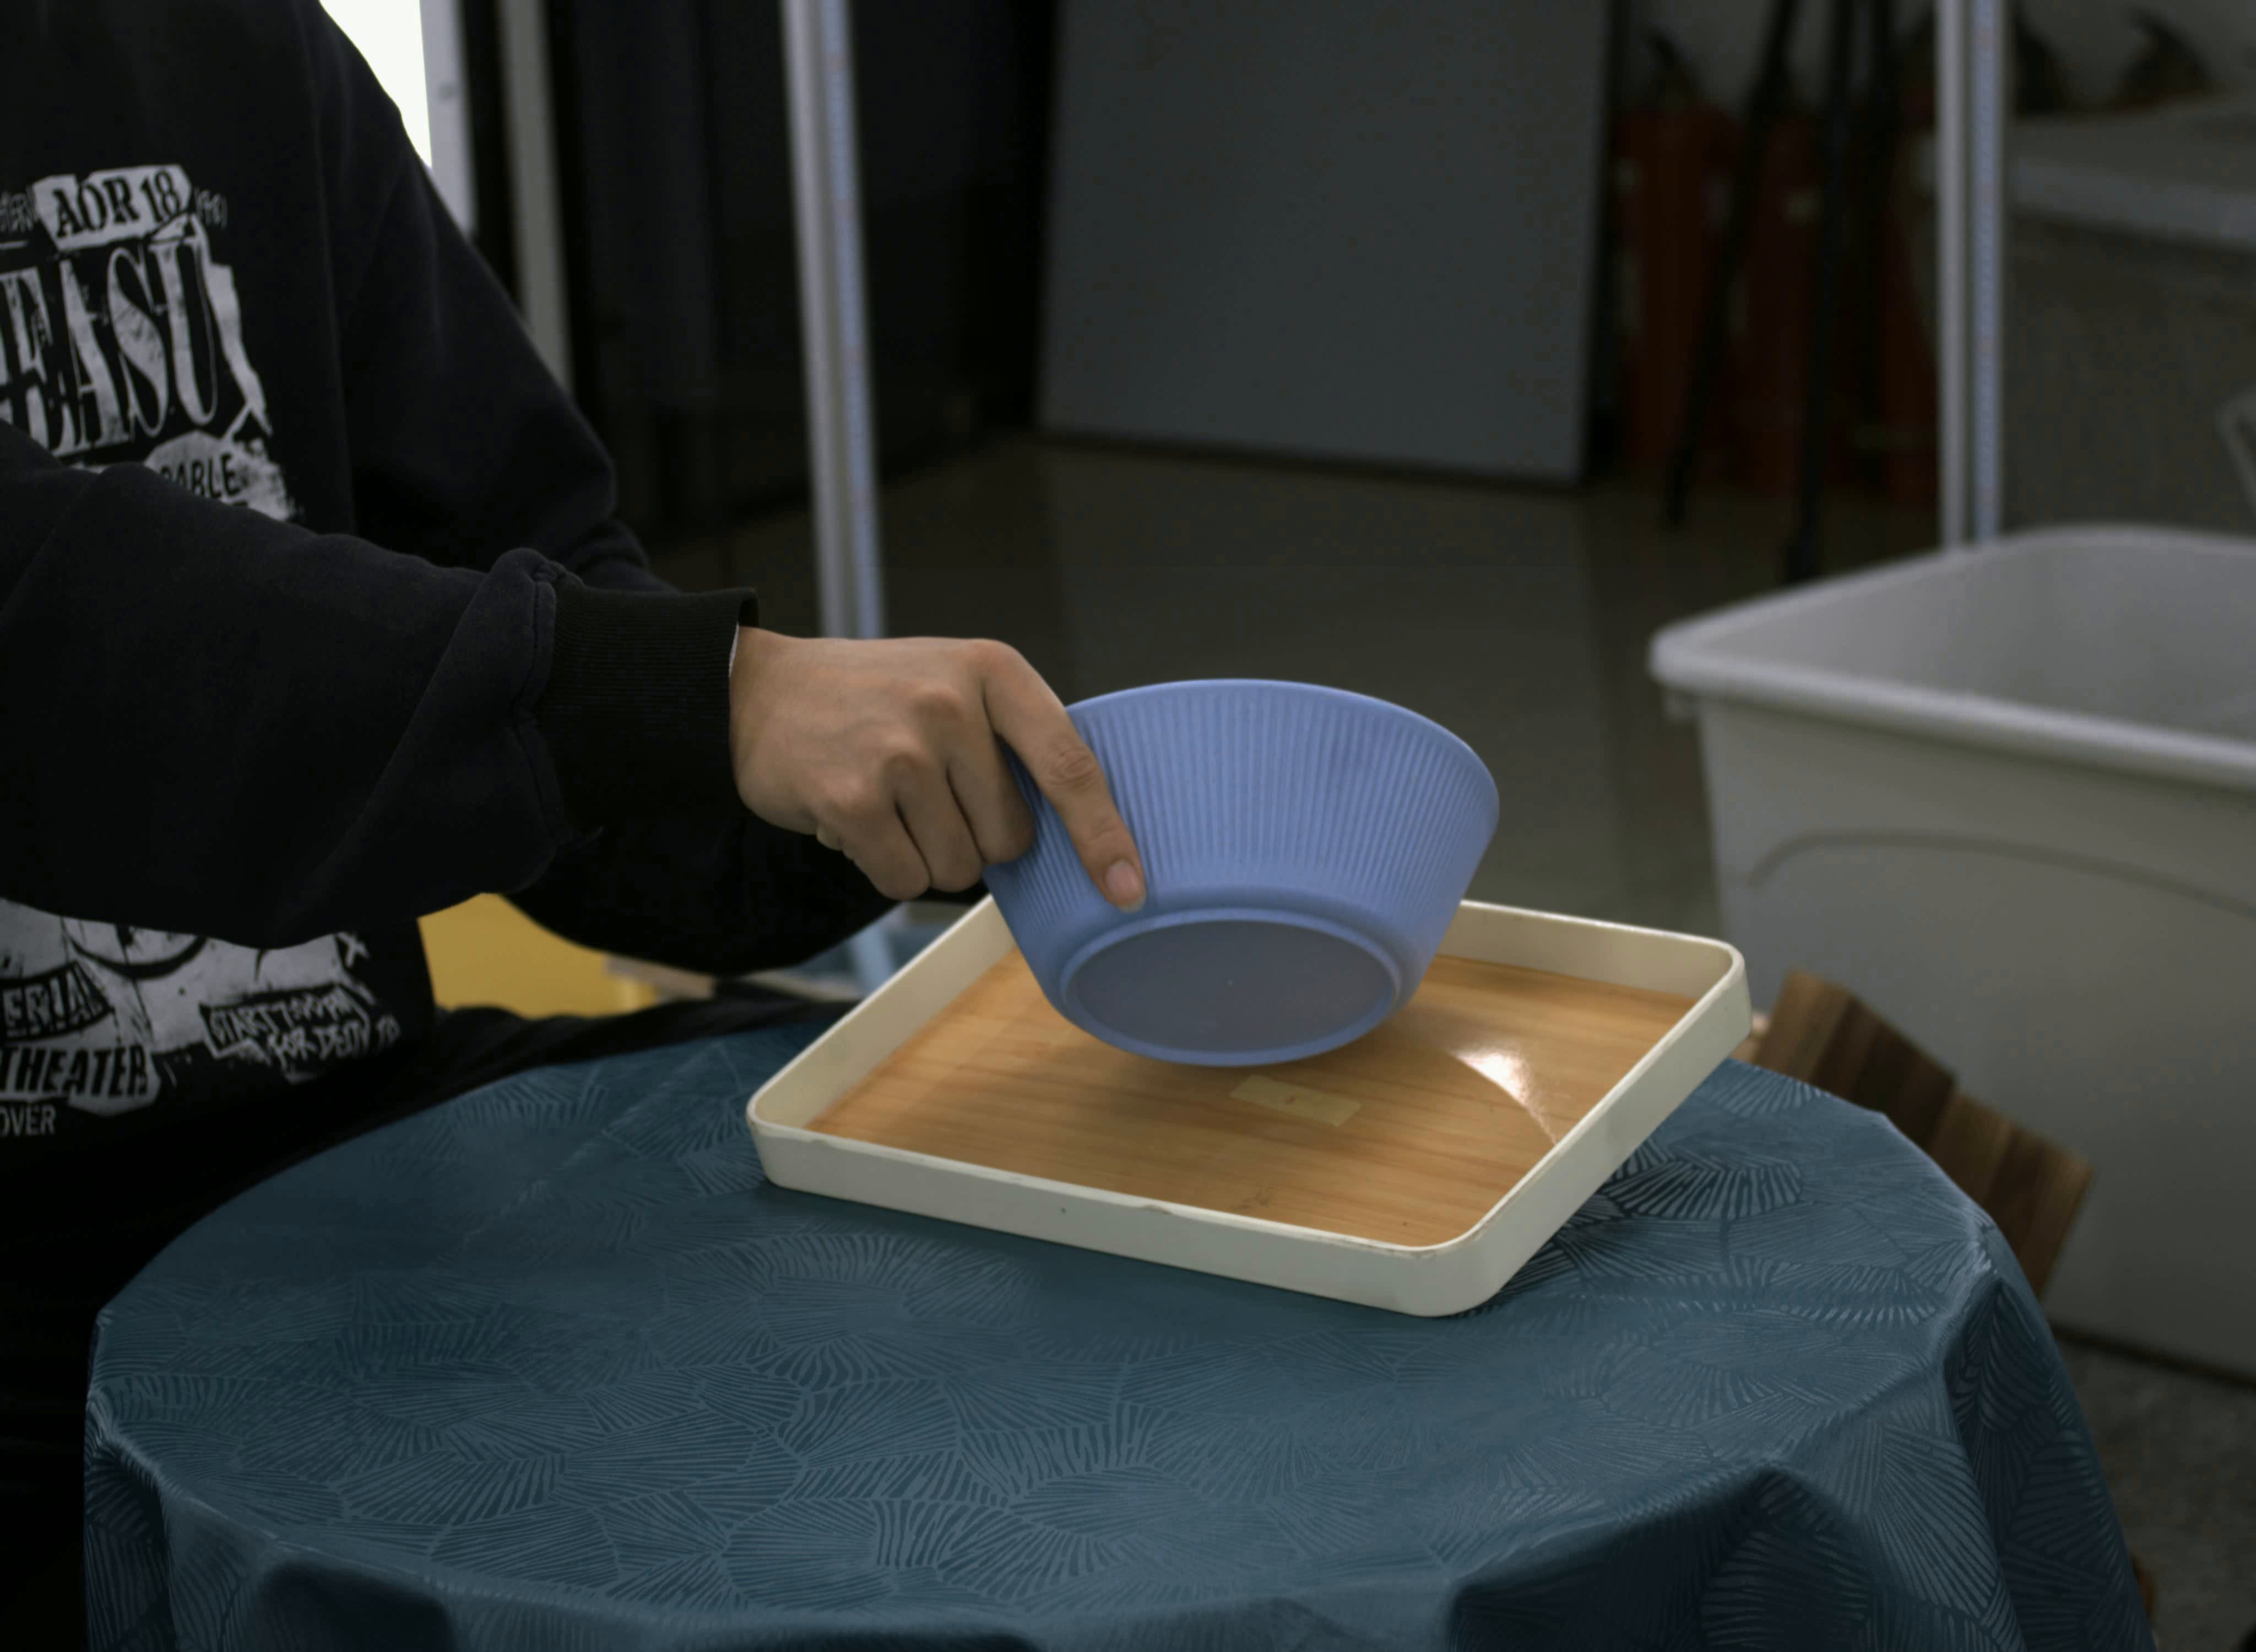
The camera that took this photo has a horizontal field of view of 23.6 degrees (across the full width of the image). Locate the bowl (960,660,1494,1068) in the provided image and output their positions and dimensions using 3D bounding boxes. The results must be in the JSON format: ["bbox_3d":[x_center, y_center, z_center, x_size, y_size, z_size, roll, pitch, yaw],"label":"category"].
[{"bbox_3d":[0.031,0.022,1.725,0.174,0.071,0.176,2,-30,0],"label":"bowl"}]

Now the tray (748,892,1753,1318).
[{"bbox_3d":[0.038,0.079,1.770,0.302,0.027,0.189,8,35,39],"label":"tray"}]
